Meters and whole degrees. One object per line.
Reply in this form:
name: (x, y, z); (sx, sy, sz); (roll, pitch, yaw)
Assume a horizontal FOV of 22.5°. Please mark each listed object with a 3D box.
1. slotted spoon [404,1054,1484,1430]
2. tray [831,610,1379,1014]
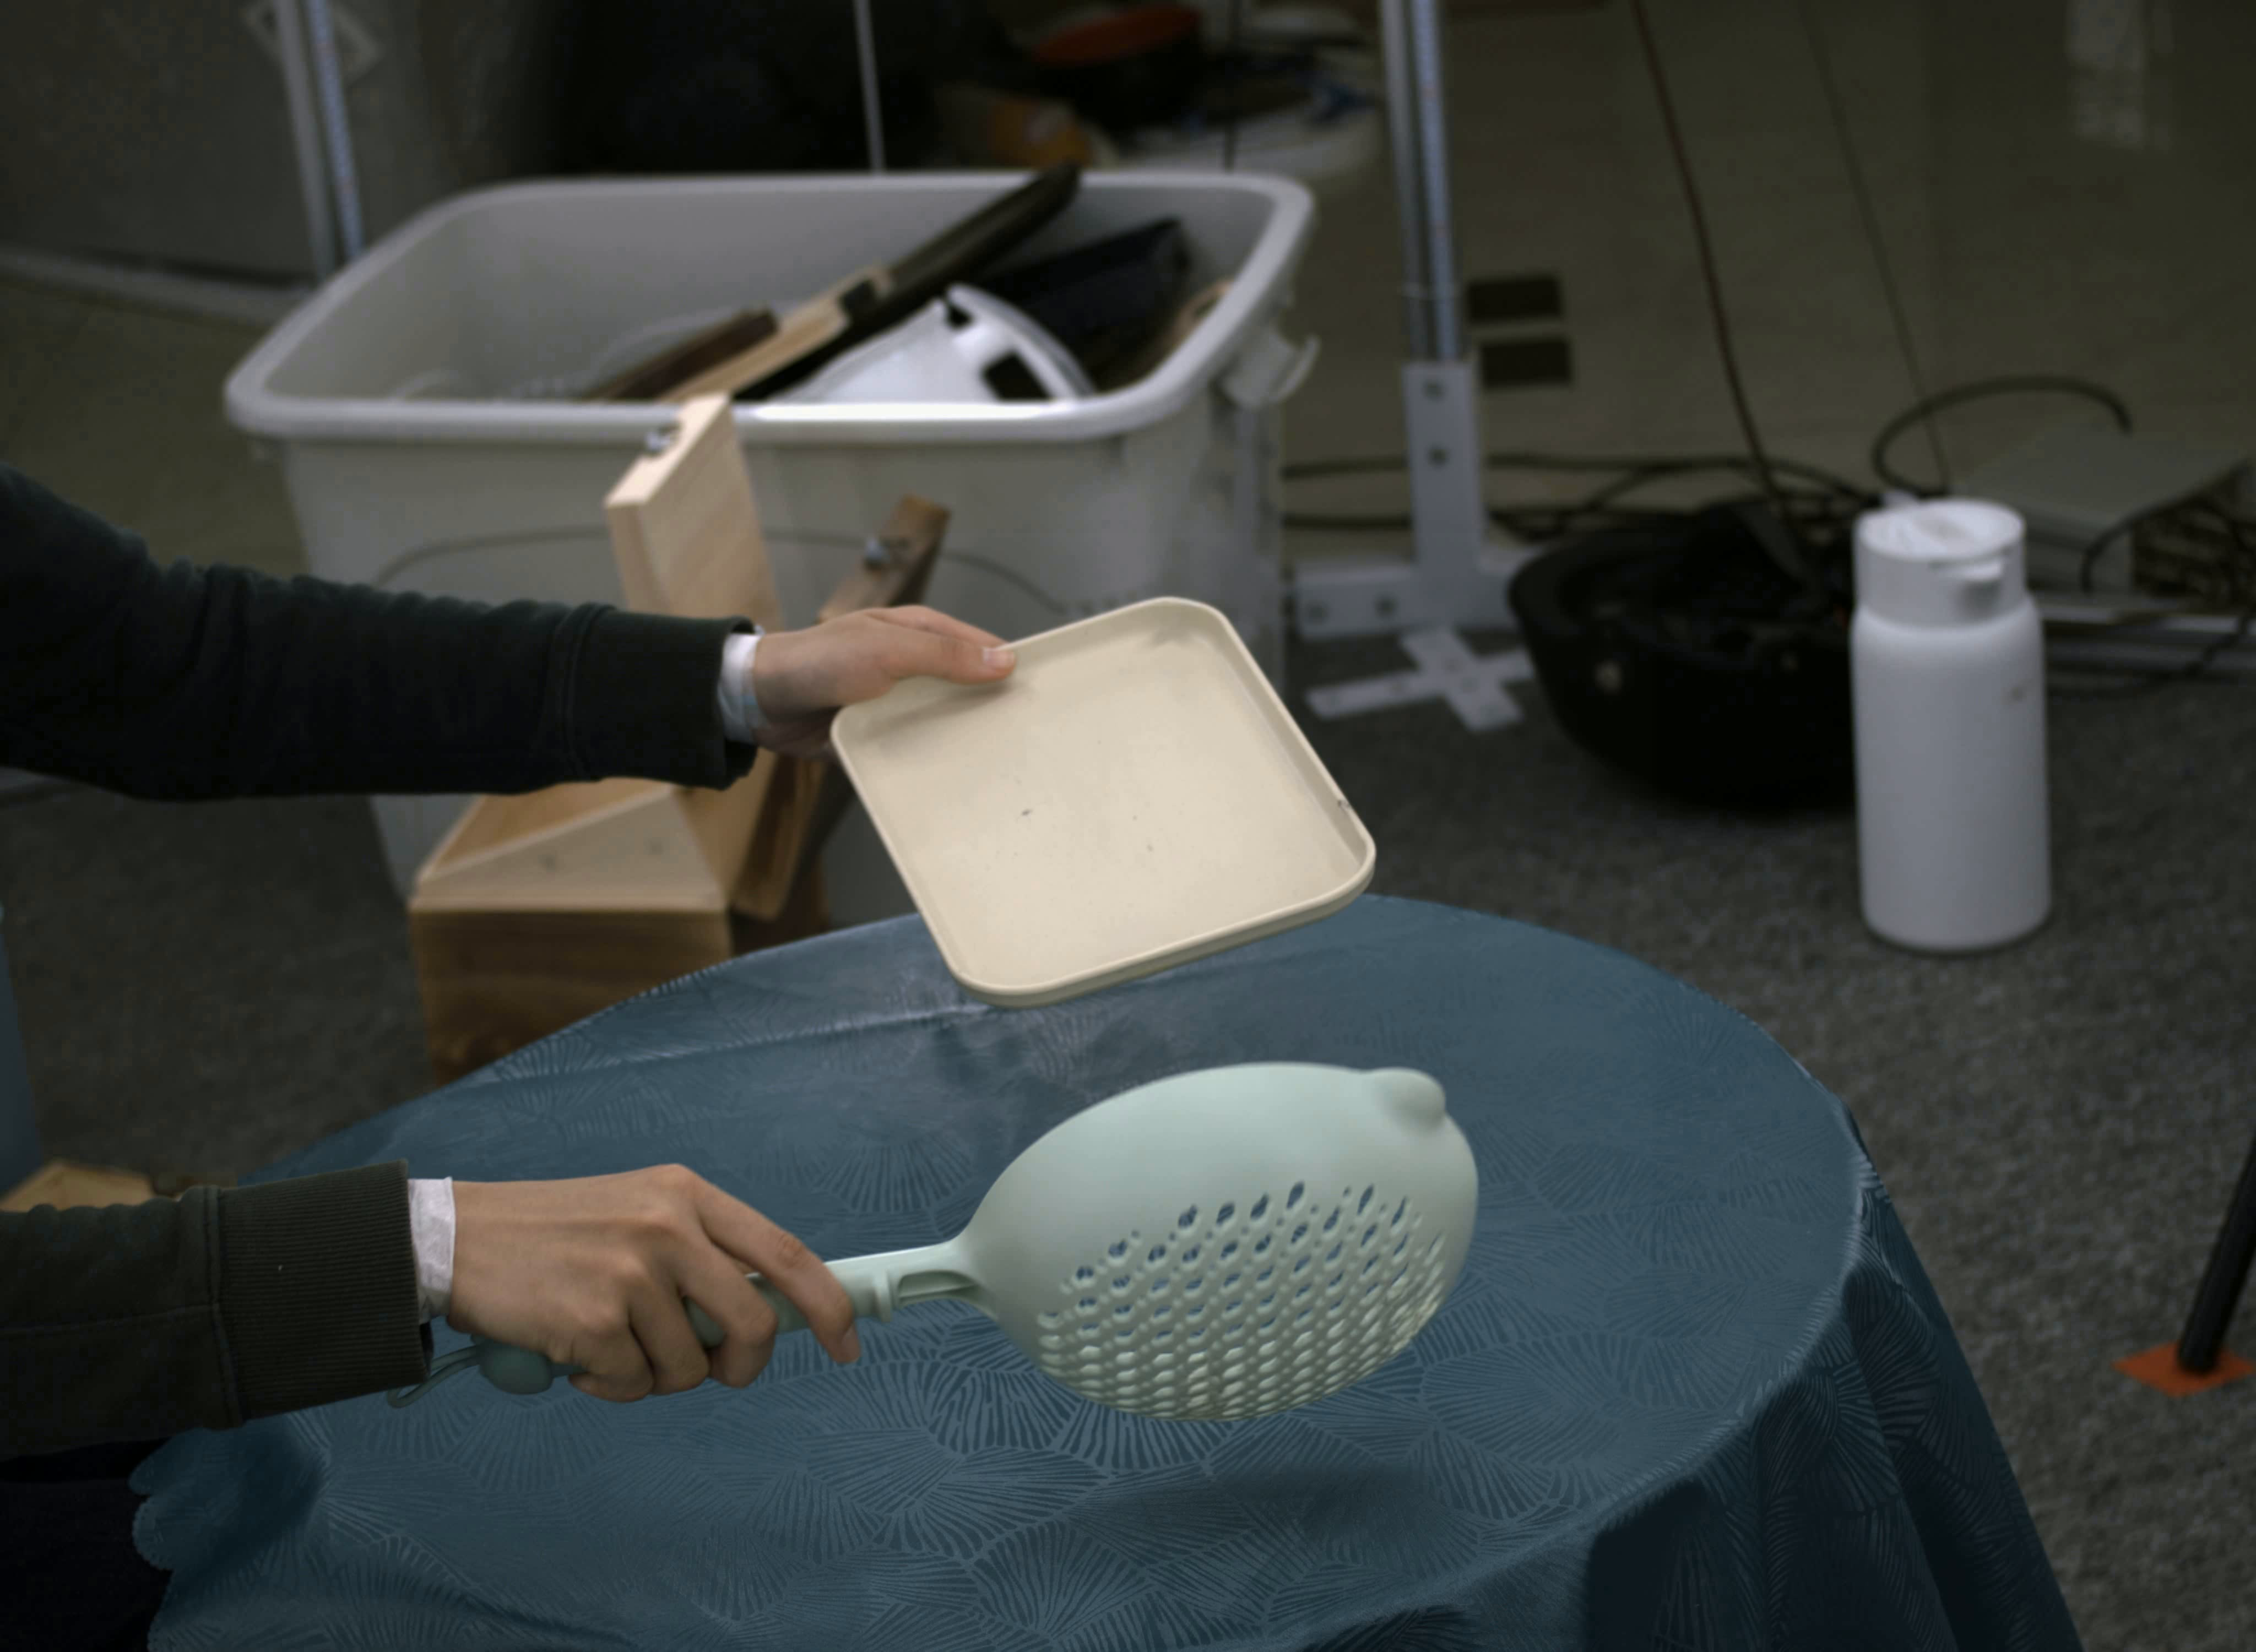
slotted spoon: (-0.059, 0.154, 1.866); (0.358, 0.172, 0.074); (-3, 50, 0)
tray: (-0.011, -0.006, 2.209); (0.171, 0.018, 0.236); (-17, 34, -9)
